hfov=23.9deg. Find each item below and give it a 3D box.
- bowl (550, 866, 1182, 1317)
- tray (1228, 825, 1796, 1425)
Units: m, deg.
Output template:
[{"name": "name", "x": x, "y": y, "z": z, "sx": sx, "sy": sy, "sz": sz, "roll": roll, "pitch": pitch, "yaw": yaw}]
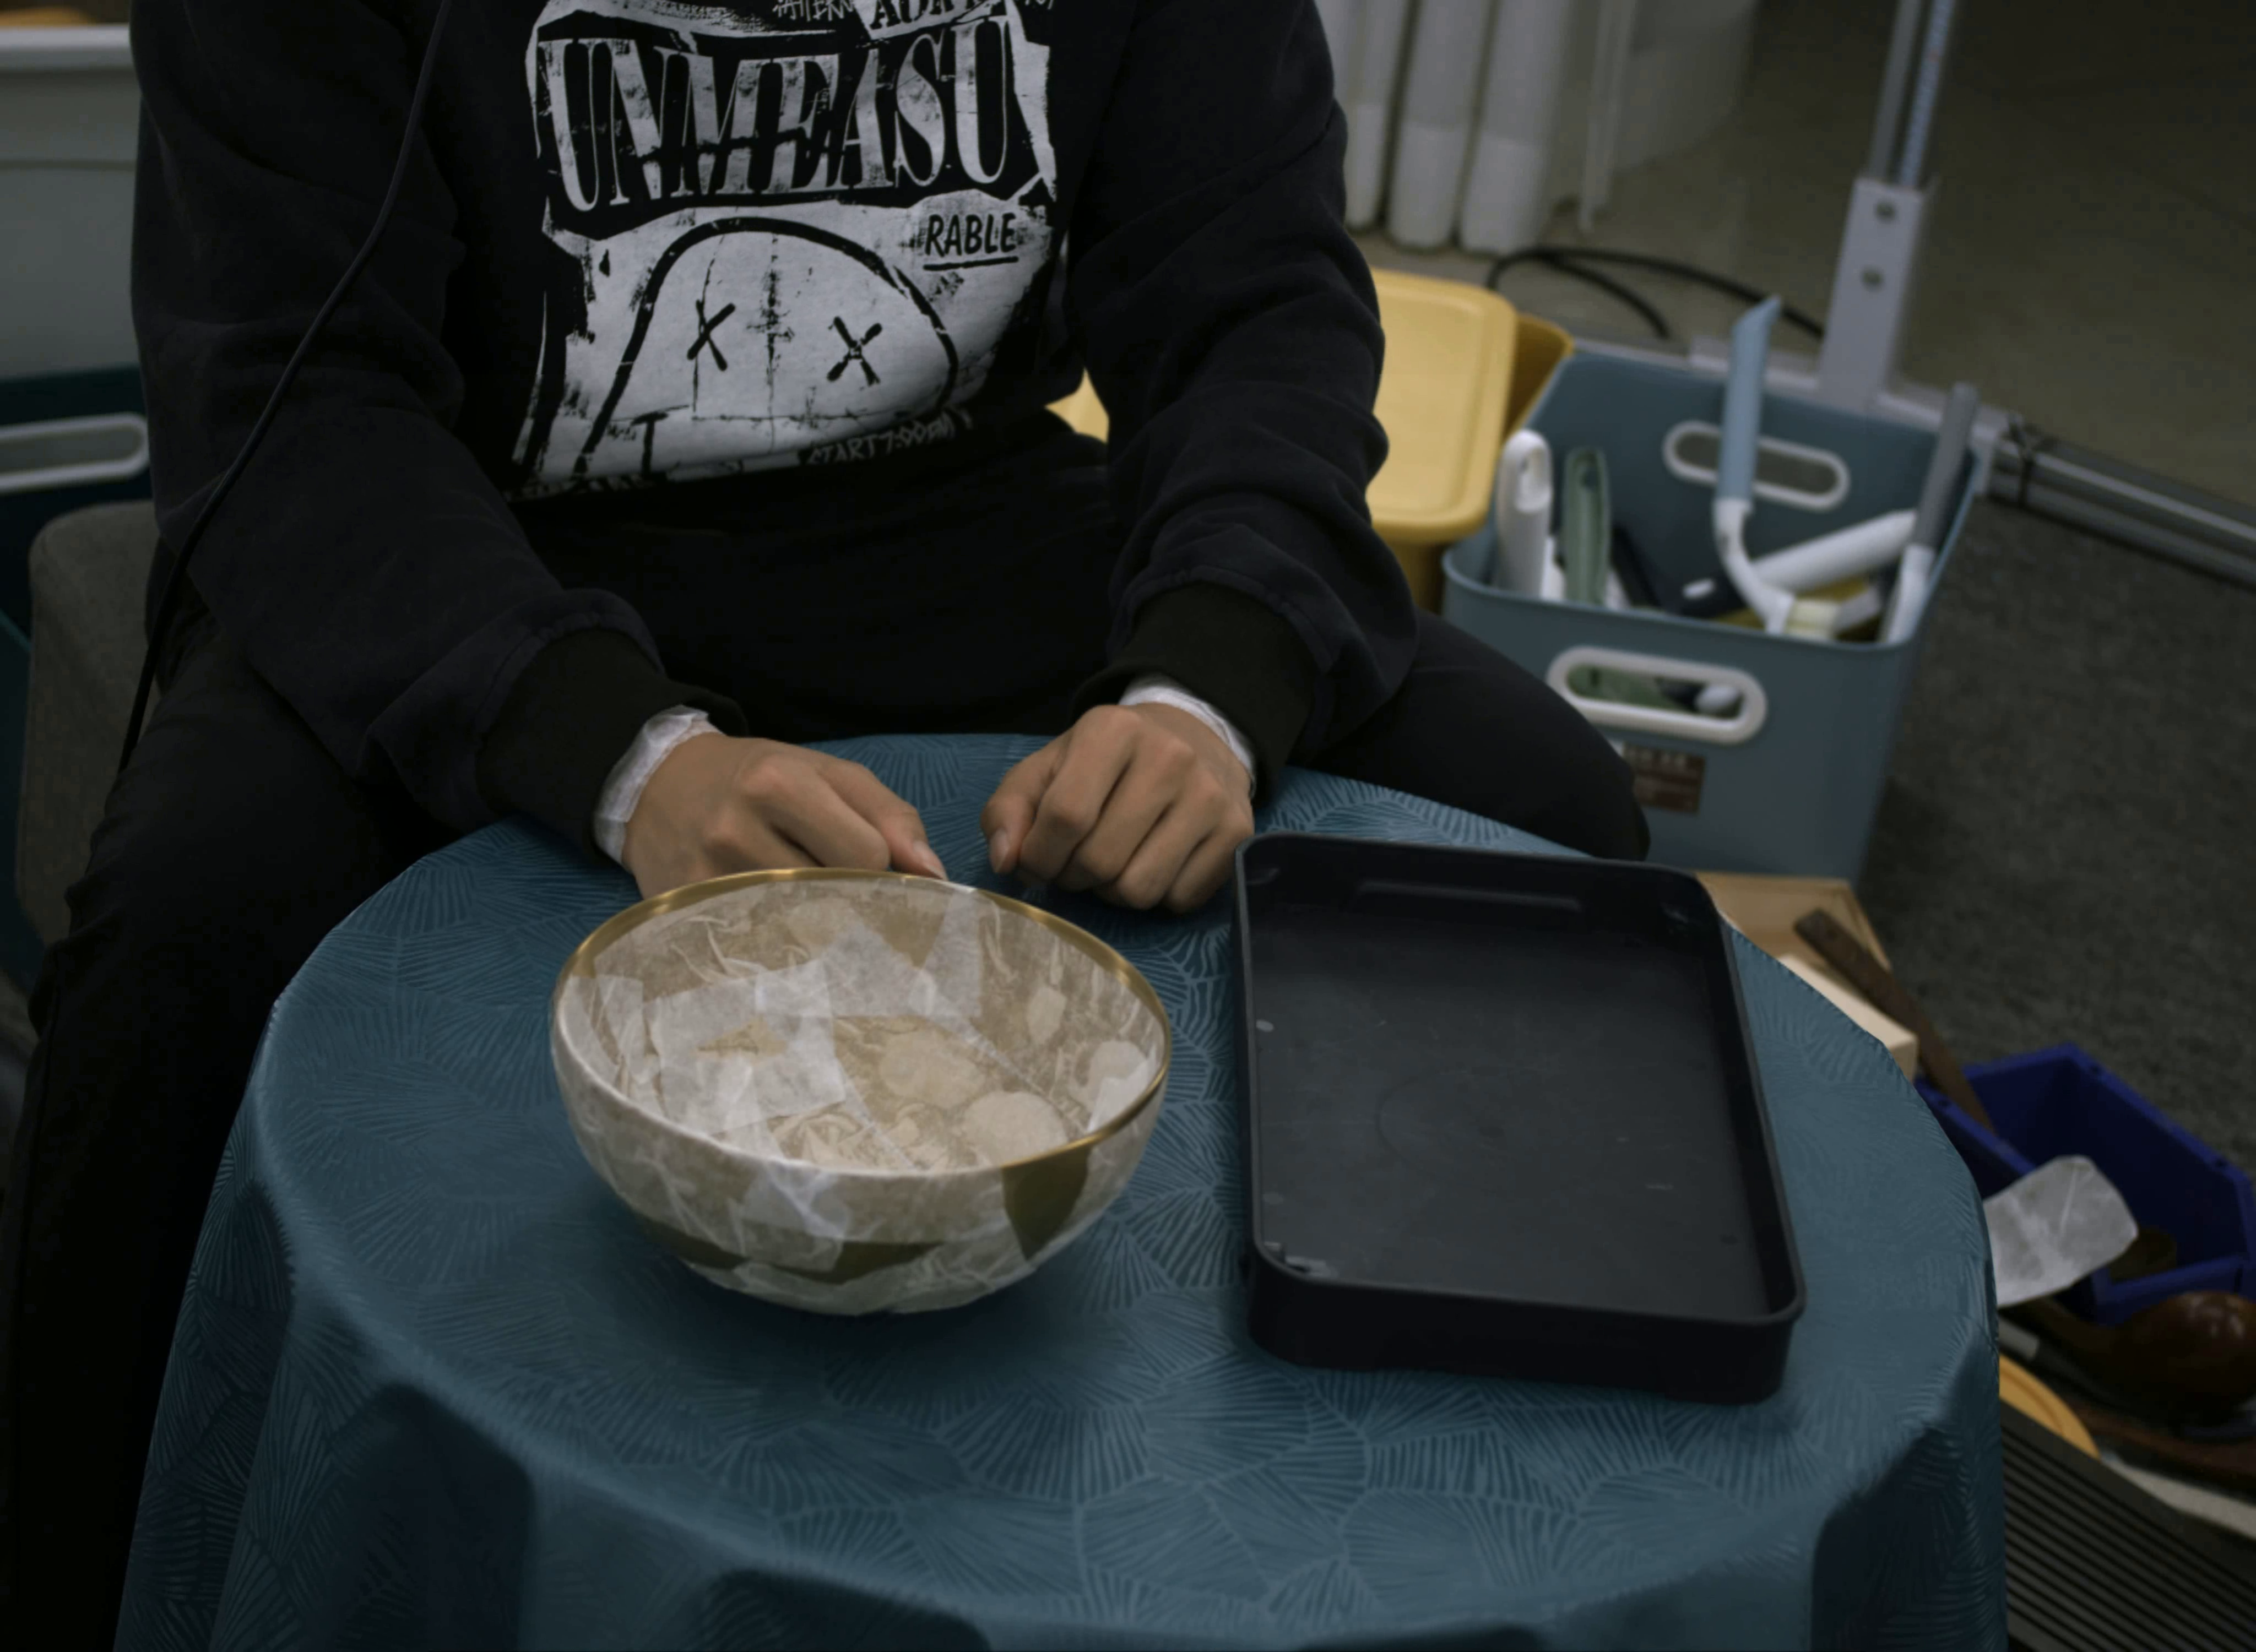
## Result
[{"name": "bowl", "x": -0.085, "y": 0.097, "z": 1.730, "sx": 0.214, "sy": 0.094, "sz": 0.216, "roll": 4, "pitch": 26, "yaw": -2}, {"name": "tray", "x": 0.127, "y": 0.097, "z": 1.847, "sx": 0.184, "sy": 0.037, "sz": 0.320, "roll": 7, "pitch": 28, "yaw": -1}]
